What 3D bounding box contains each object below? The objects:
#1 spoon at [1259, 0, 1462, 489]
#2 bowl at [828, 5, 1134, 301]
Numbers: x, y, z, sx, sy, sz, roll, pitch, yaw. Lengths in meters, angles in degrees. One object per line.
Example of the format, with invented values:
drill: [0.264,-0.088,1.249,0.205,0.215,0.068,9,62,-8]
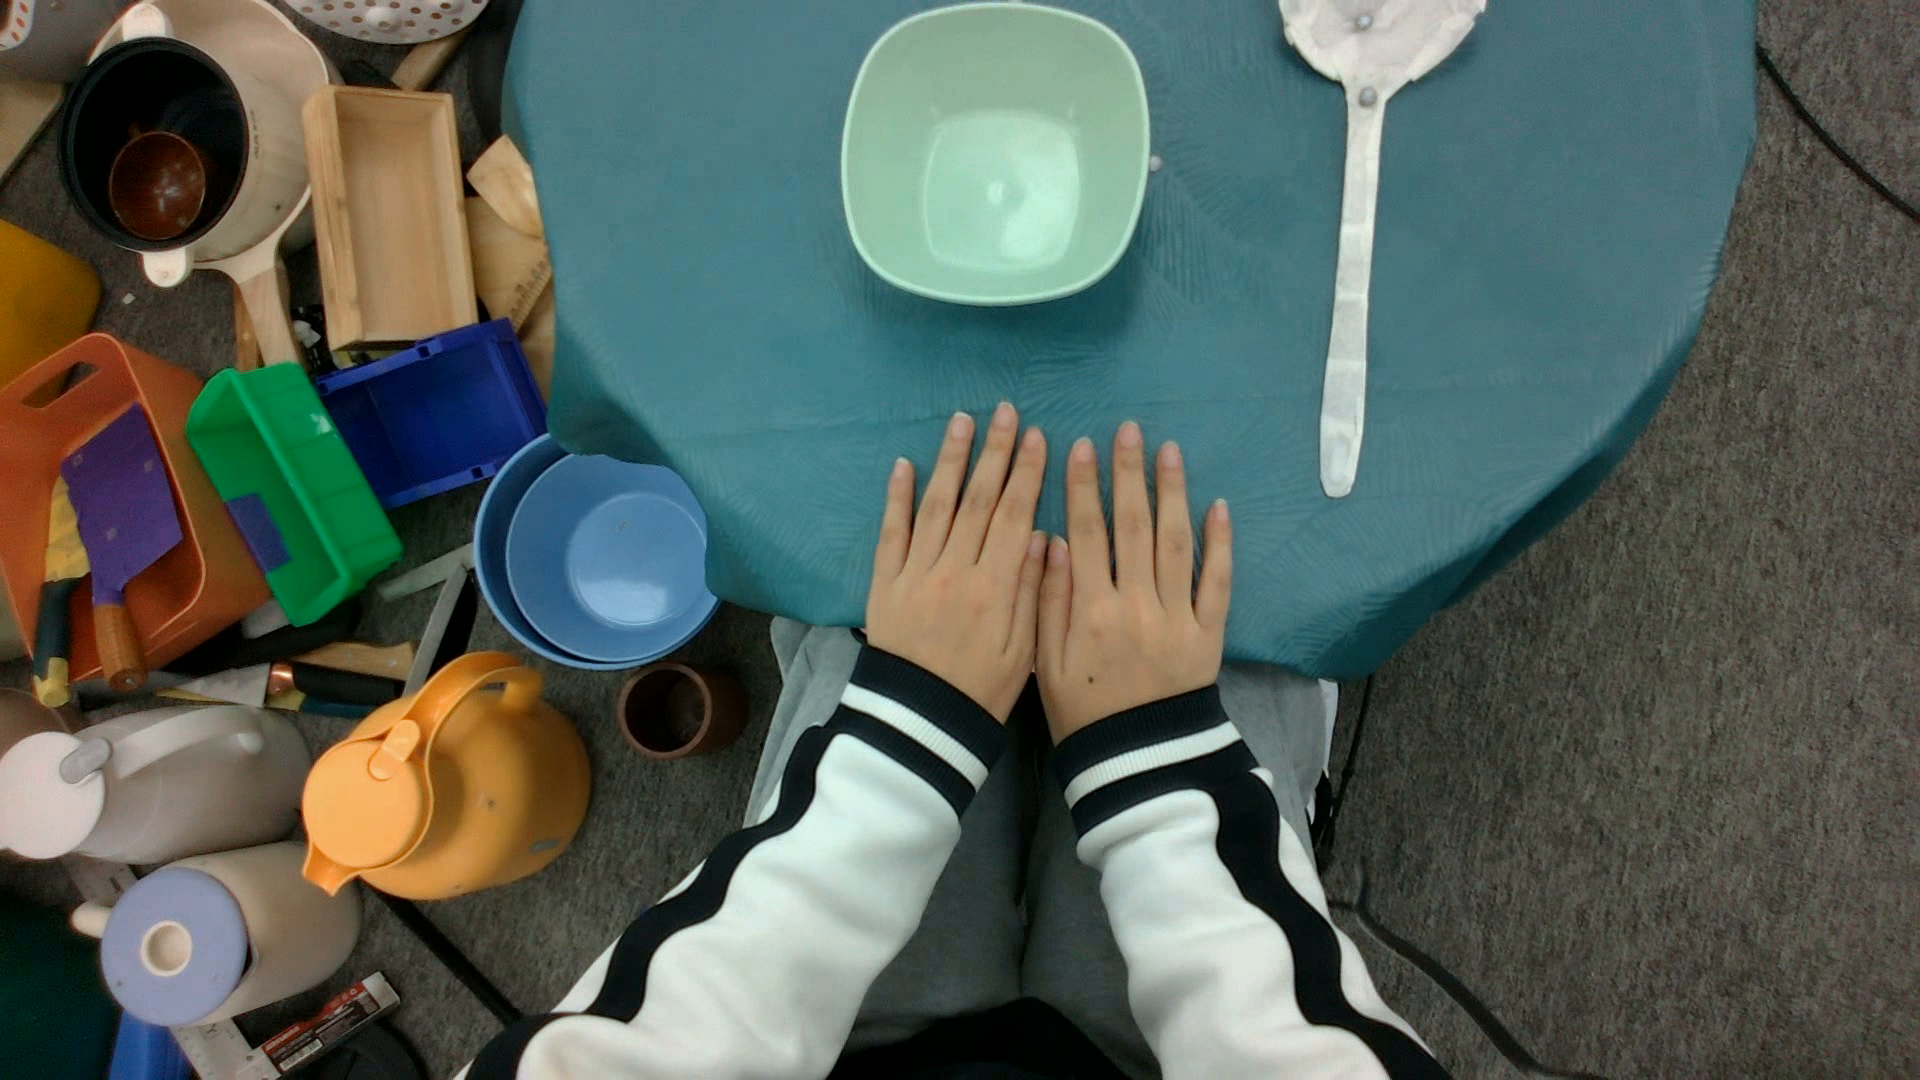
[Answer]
spoon: [0.169,-0.164,0.632,0.100,0.059,0.277,8,84,11]
bowl: [0.011,-0.173,0.649,0.151,0.058,0.151,-1,83,5]
